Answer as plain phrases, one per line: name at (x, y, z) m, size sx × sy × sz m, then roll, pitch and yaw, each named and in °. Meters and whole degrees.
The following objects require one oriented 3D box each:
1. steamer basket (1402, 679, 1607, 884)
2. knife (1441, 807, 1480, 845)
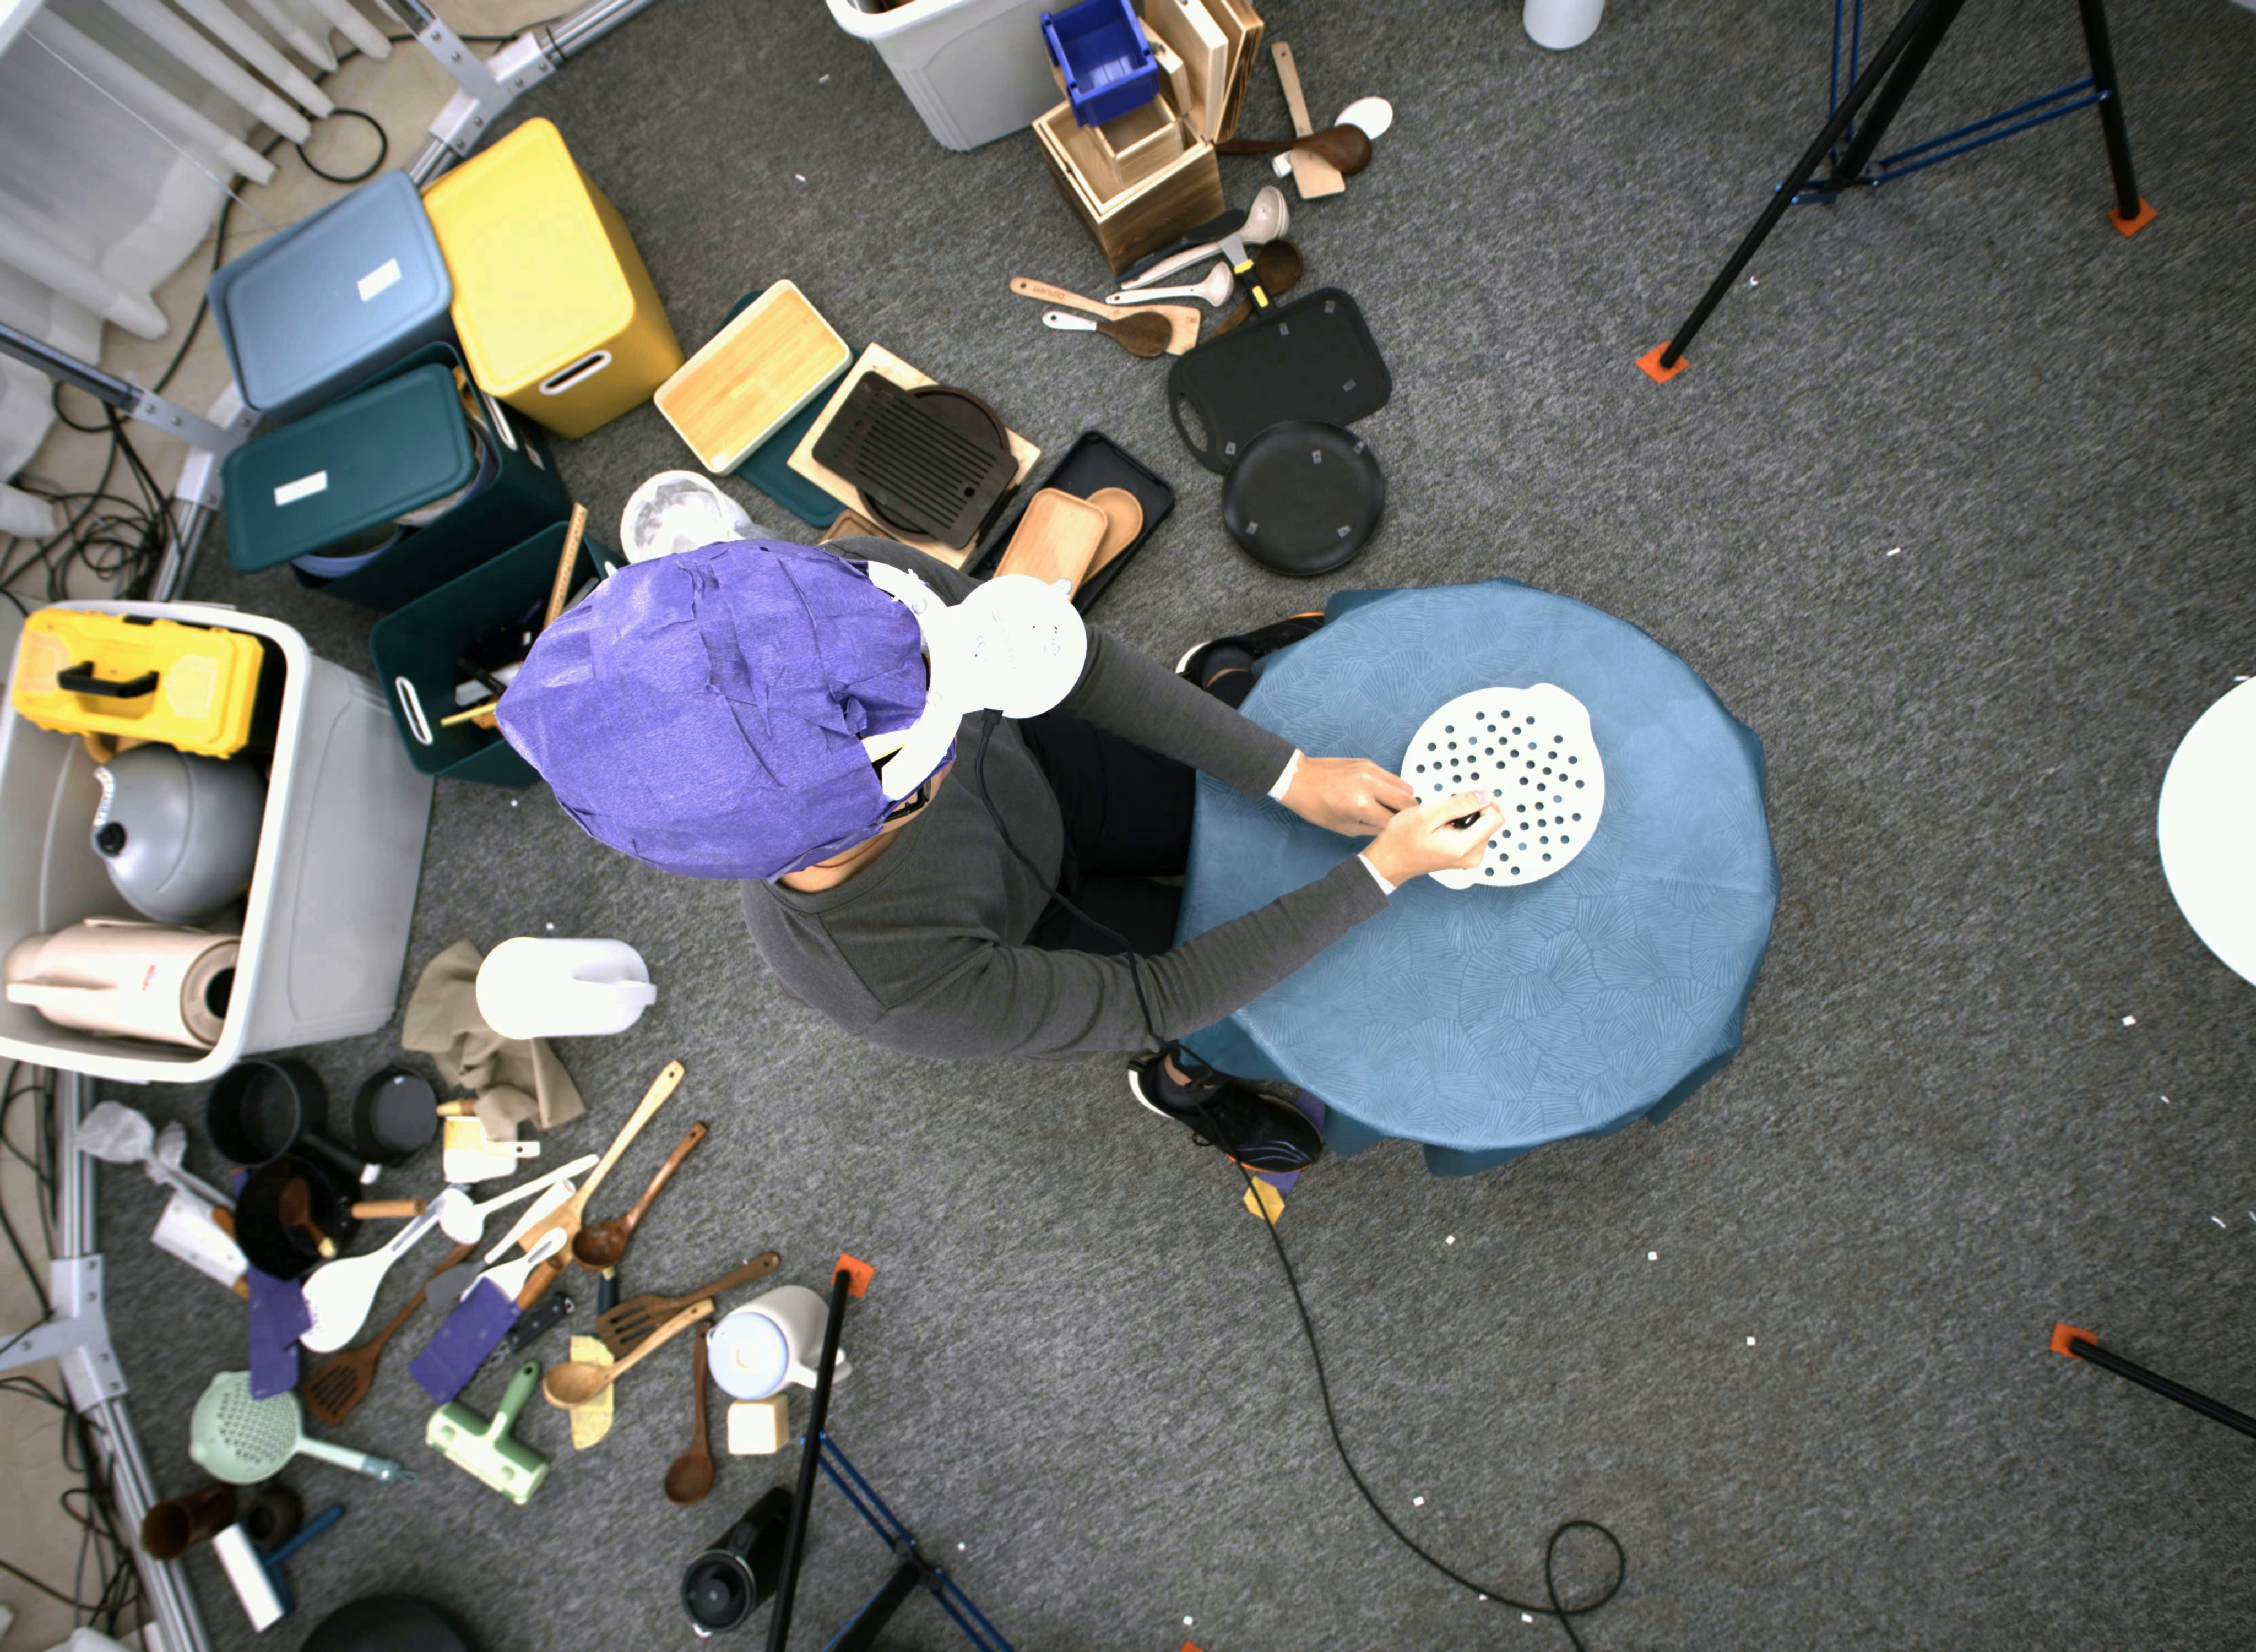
steamer basket at (0.384, -0.044, 1.409) m, size 0.201 × 0.069 × 0.231 m, roll 38°, pitch 96°, yaw 12°
knife at (0.315, 0.004, 1.325) m, size 0.024 × 0.238 × 0.016 m, roll -44°, pitch 81°, yaw 1°
